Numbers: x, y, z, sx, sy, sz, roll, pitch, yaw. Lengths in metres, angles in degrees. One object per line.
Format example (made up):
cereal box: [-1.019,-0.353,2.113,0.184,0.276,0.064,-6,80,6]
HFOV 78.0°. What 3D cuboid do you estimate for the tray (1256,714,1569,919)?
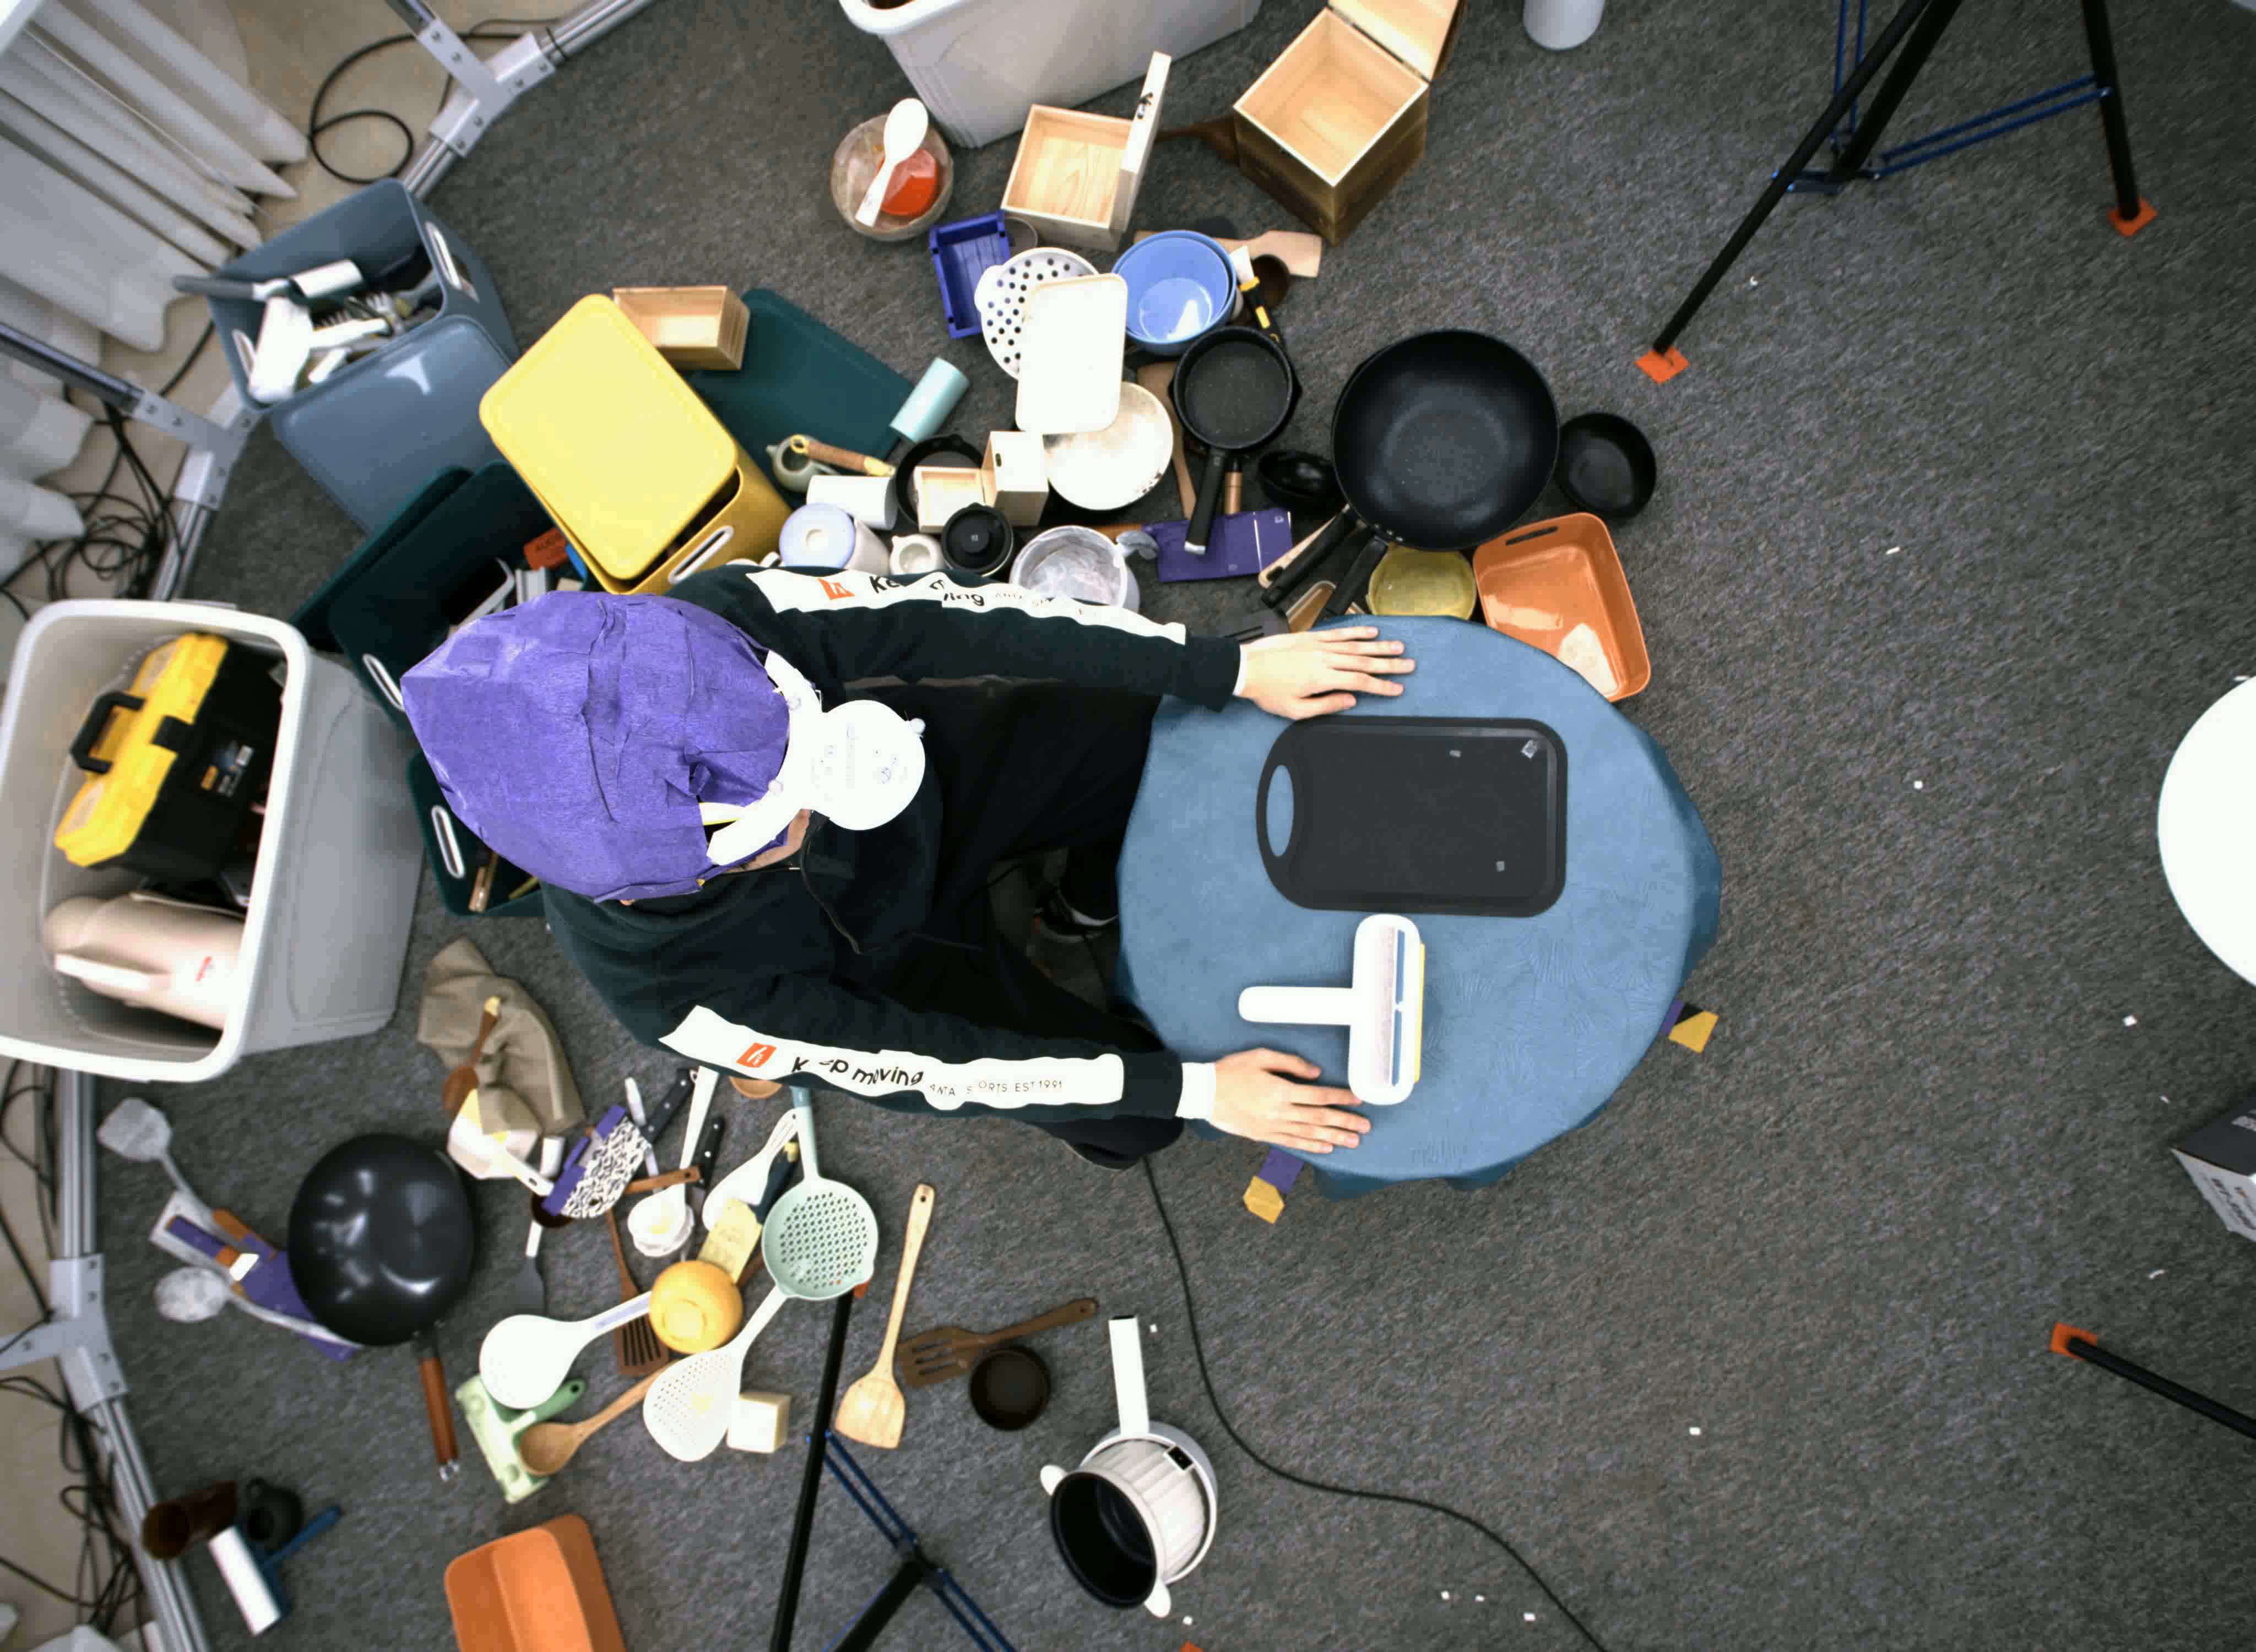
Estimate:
tray: [0.297,-0.013,1.452,0.326,0.010,0.210,2,87,11]

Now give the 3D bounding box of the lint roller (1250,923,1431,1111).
lint roller: [0.212,0.190,1.445,0.193,0.074,0.191,6,81,25]
